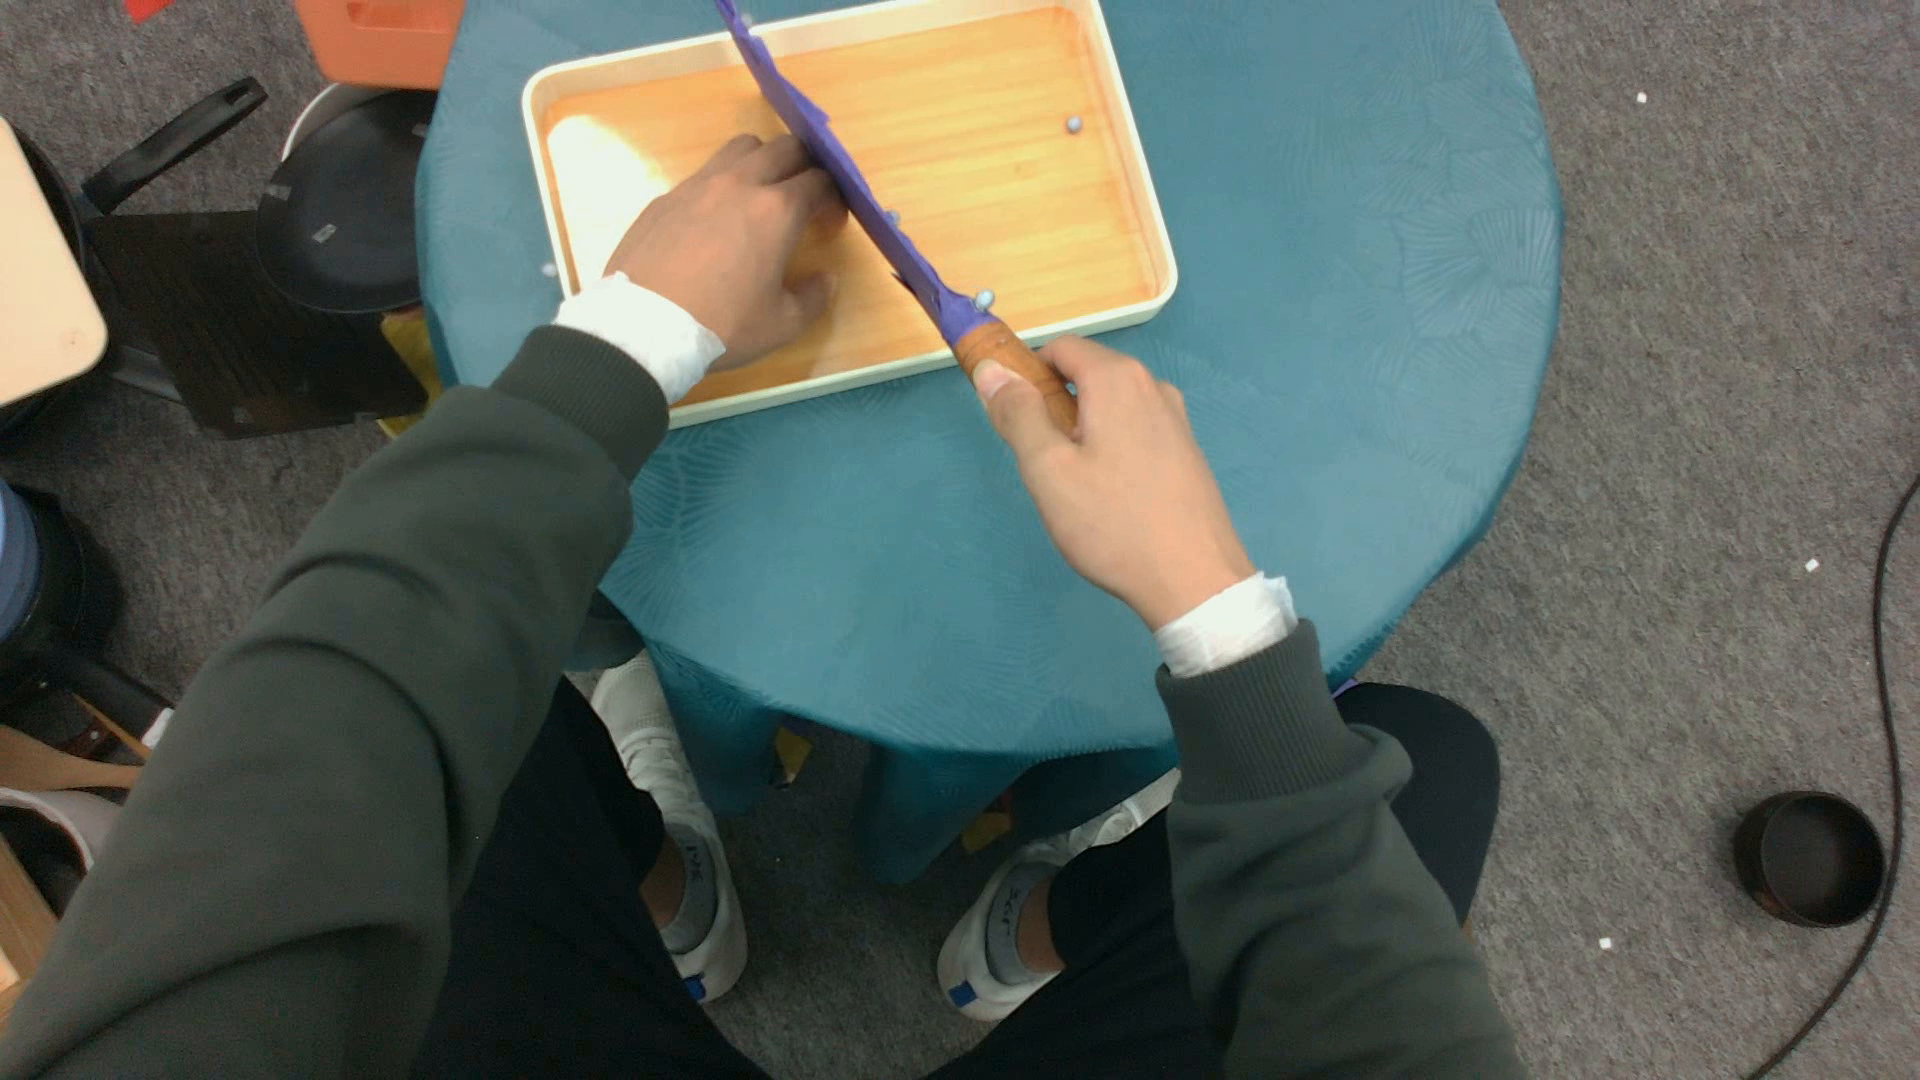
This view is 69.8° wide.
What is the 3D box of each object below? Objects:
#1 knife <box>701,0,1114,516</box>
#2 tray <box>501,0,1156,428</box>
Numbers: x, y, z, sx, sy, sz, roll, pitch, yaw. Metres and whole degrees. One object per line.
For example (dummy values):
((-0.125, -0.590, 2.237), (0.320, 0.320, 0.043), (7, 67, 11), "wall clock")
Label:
((-0.029, -0.133, 0.625), (0.032, 0.103, 0.315), (-34, 72, 0), "knife")
((-0.065, -0.178, 0.703), (0.300, 0.027, 0.192), (-14, 80, -9), "tray")
